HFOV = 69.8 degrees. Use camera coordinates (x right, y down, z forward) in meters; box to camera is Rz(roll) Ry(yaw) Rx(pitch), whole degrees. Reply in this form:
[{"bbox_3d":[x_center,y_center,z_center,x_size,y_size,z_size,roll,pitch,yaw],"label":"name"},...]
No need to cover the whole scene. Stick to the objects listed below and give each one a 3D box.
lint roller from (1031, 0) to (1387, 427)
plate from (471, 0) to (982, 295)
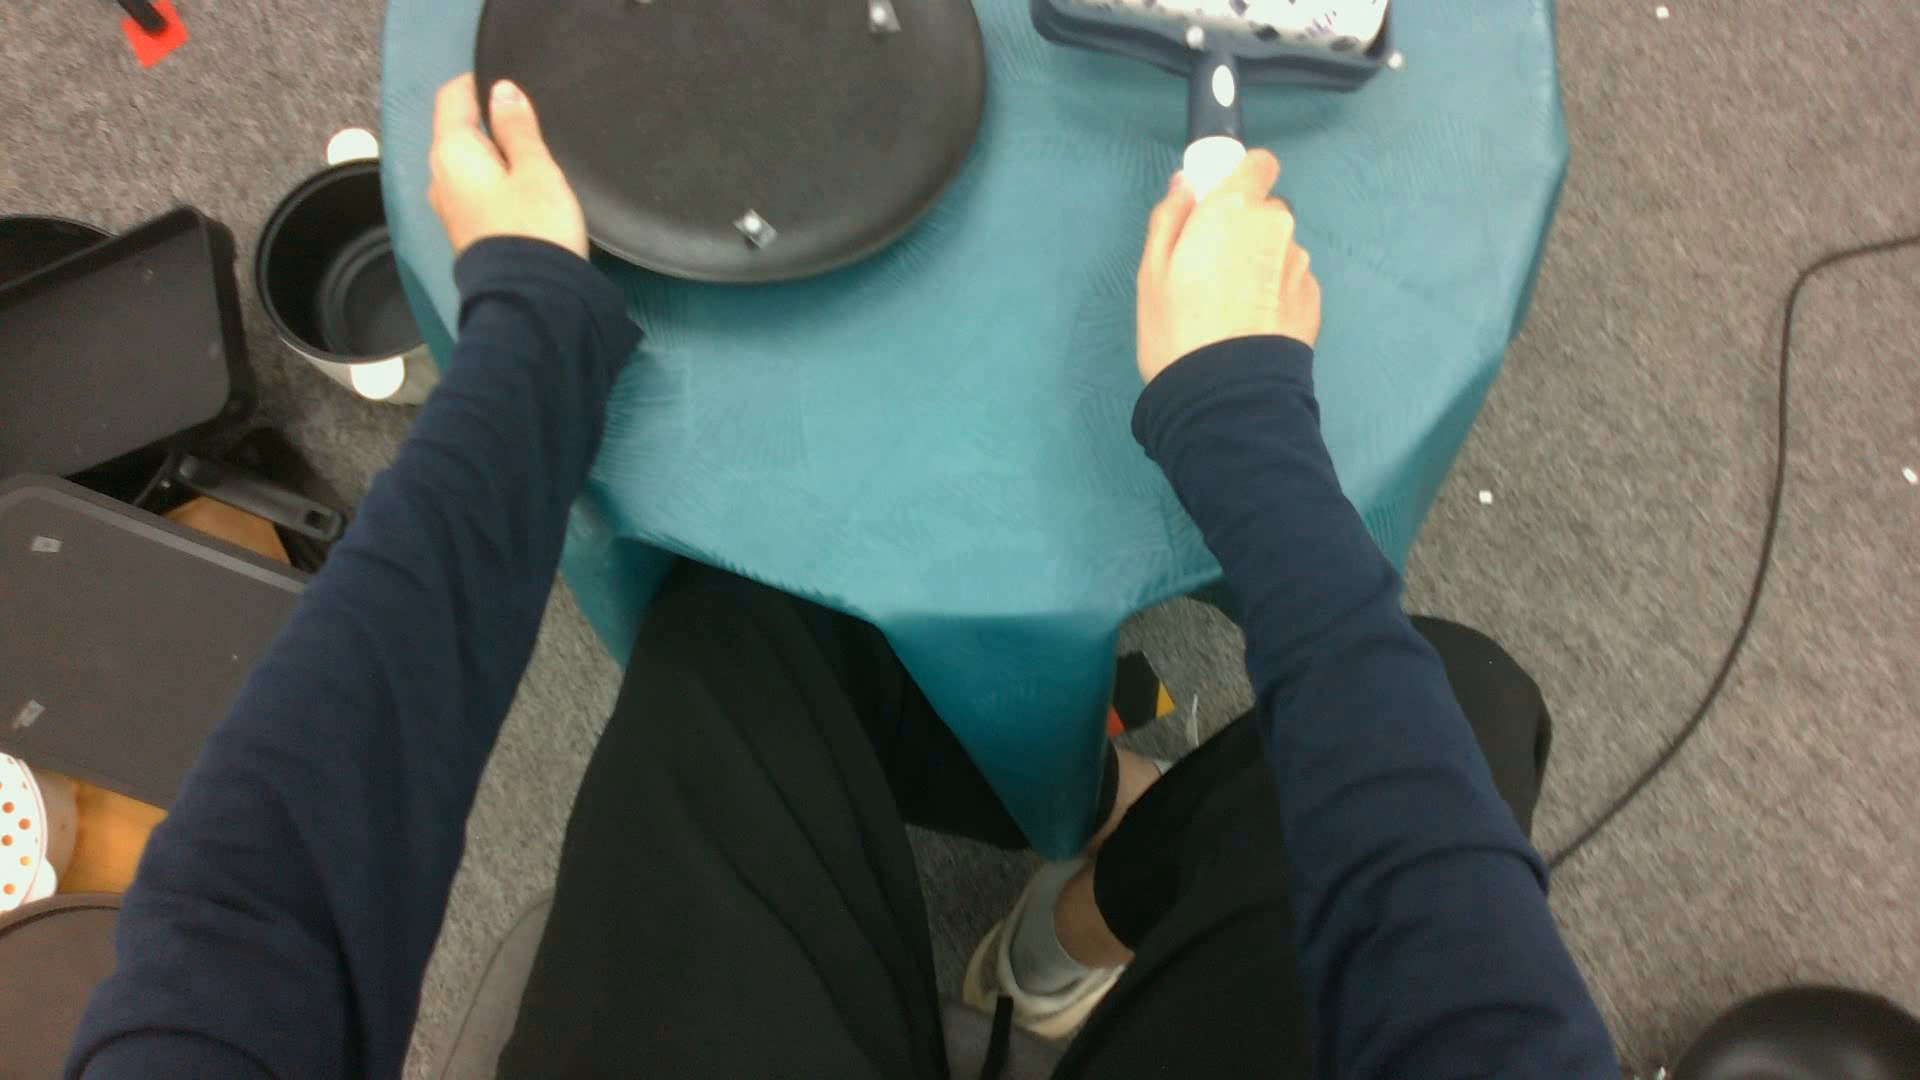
[{"bbox_3d":[0.118,-0.172,0.650,0.176,0.050,0.248,5,70,-5],"label":"lint roller"},{"bbox_3d":[-0.111,-0.227,0.676,0.244,0.023,0.245,3,73,-8],"label":"plate"}]
